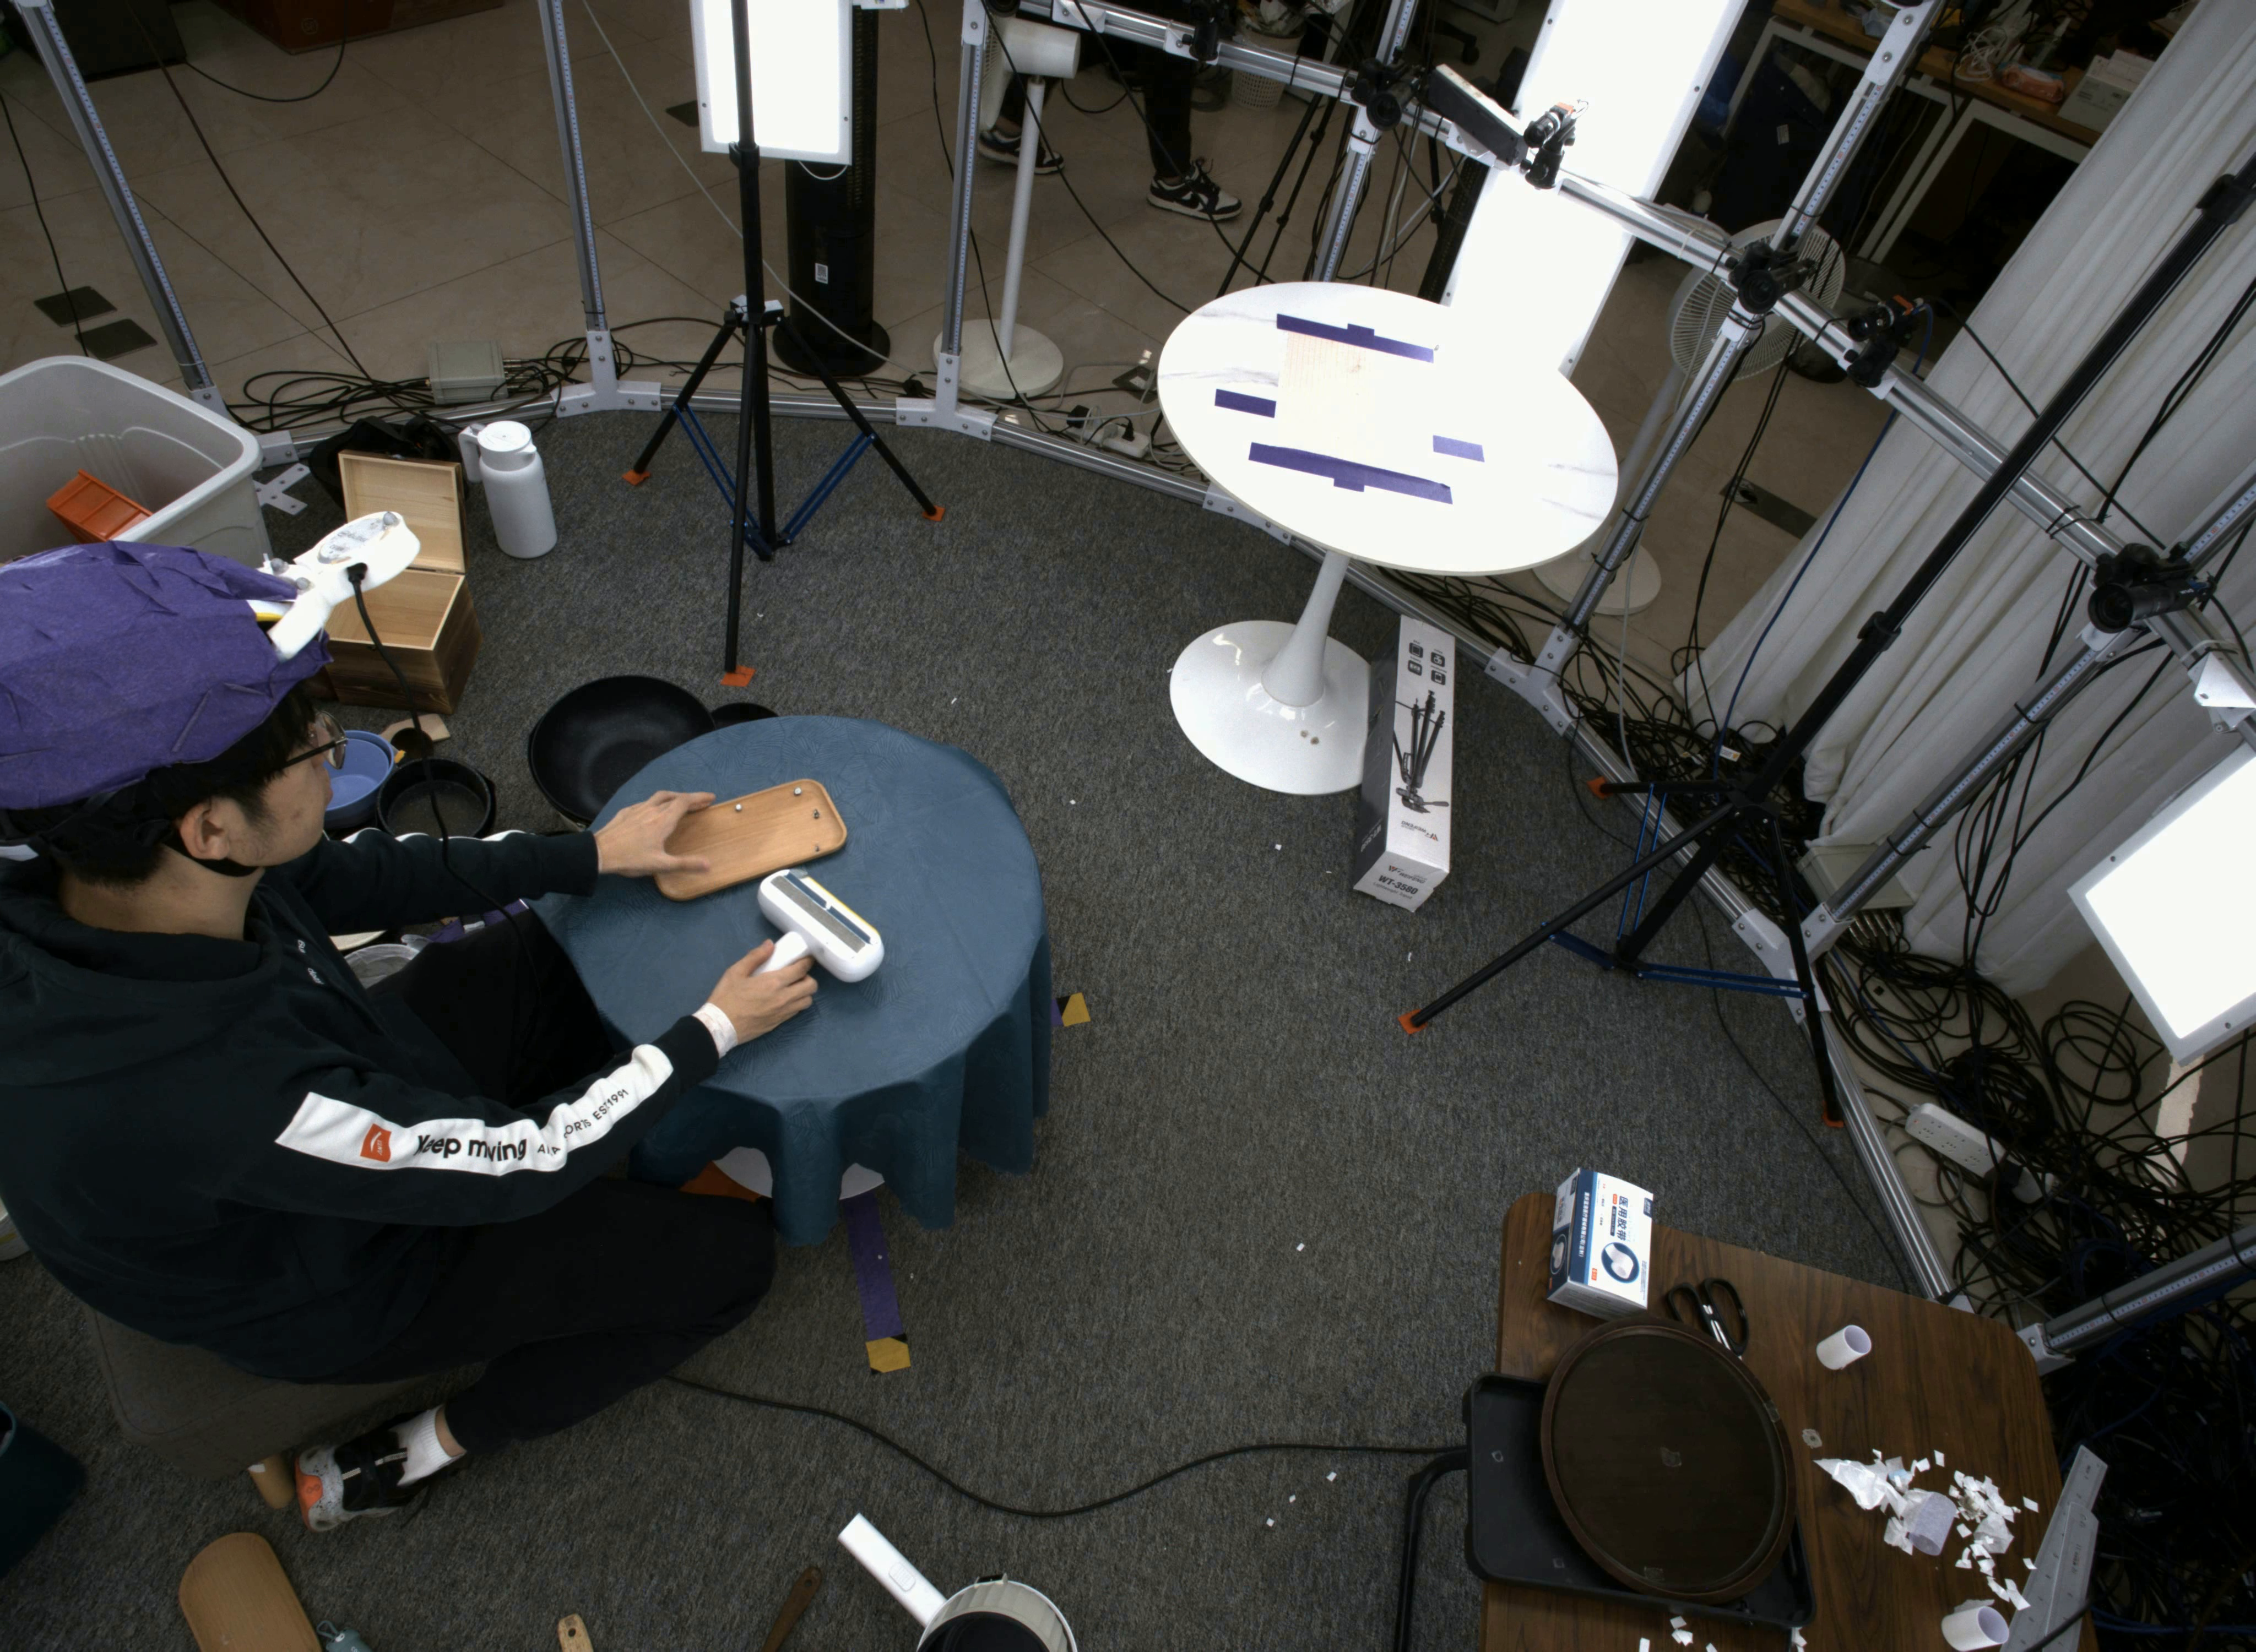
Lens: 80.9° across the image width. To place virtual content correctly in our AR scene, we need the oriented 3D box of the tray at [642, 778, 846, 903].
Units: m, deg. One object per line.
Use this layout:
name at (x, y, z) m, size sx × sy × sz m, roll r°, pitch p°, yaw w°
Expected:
tray at (-0.500, 0.016, 1.688) m, size 0.252 × 0.023 × 0.127 m, roll -19°, pitch 59°, yaw -26°

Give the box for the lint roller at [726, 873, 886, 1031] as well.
lint roller at (-0.415, 0.168, 1.588) m, size 0.192 × 0.076 × 0.187 m, roll -41°, pitch 64°, yaw -19°
